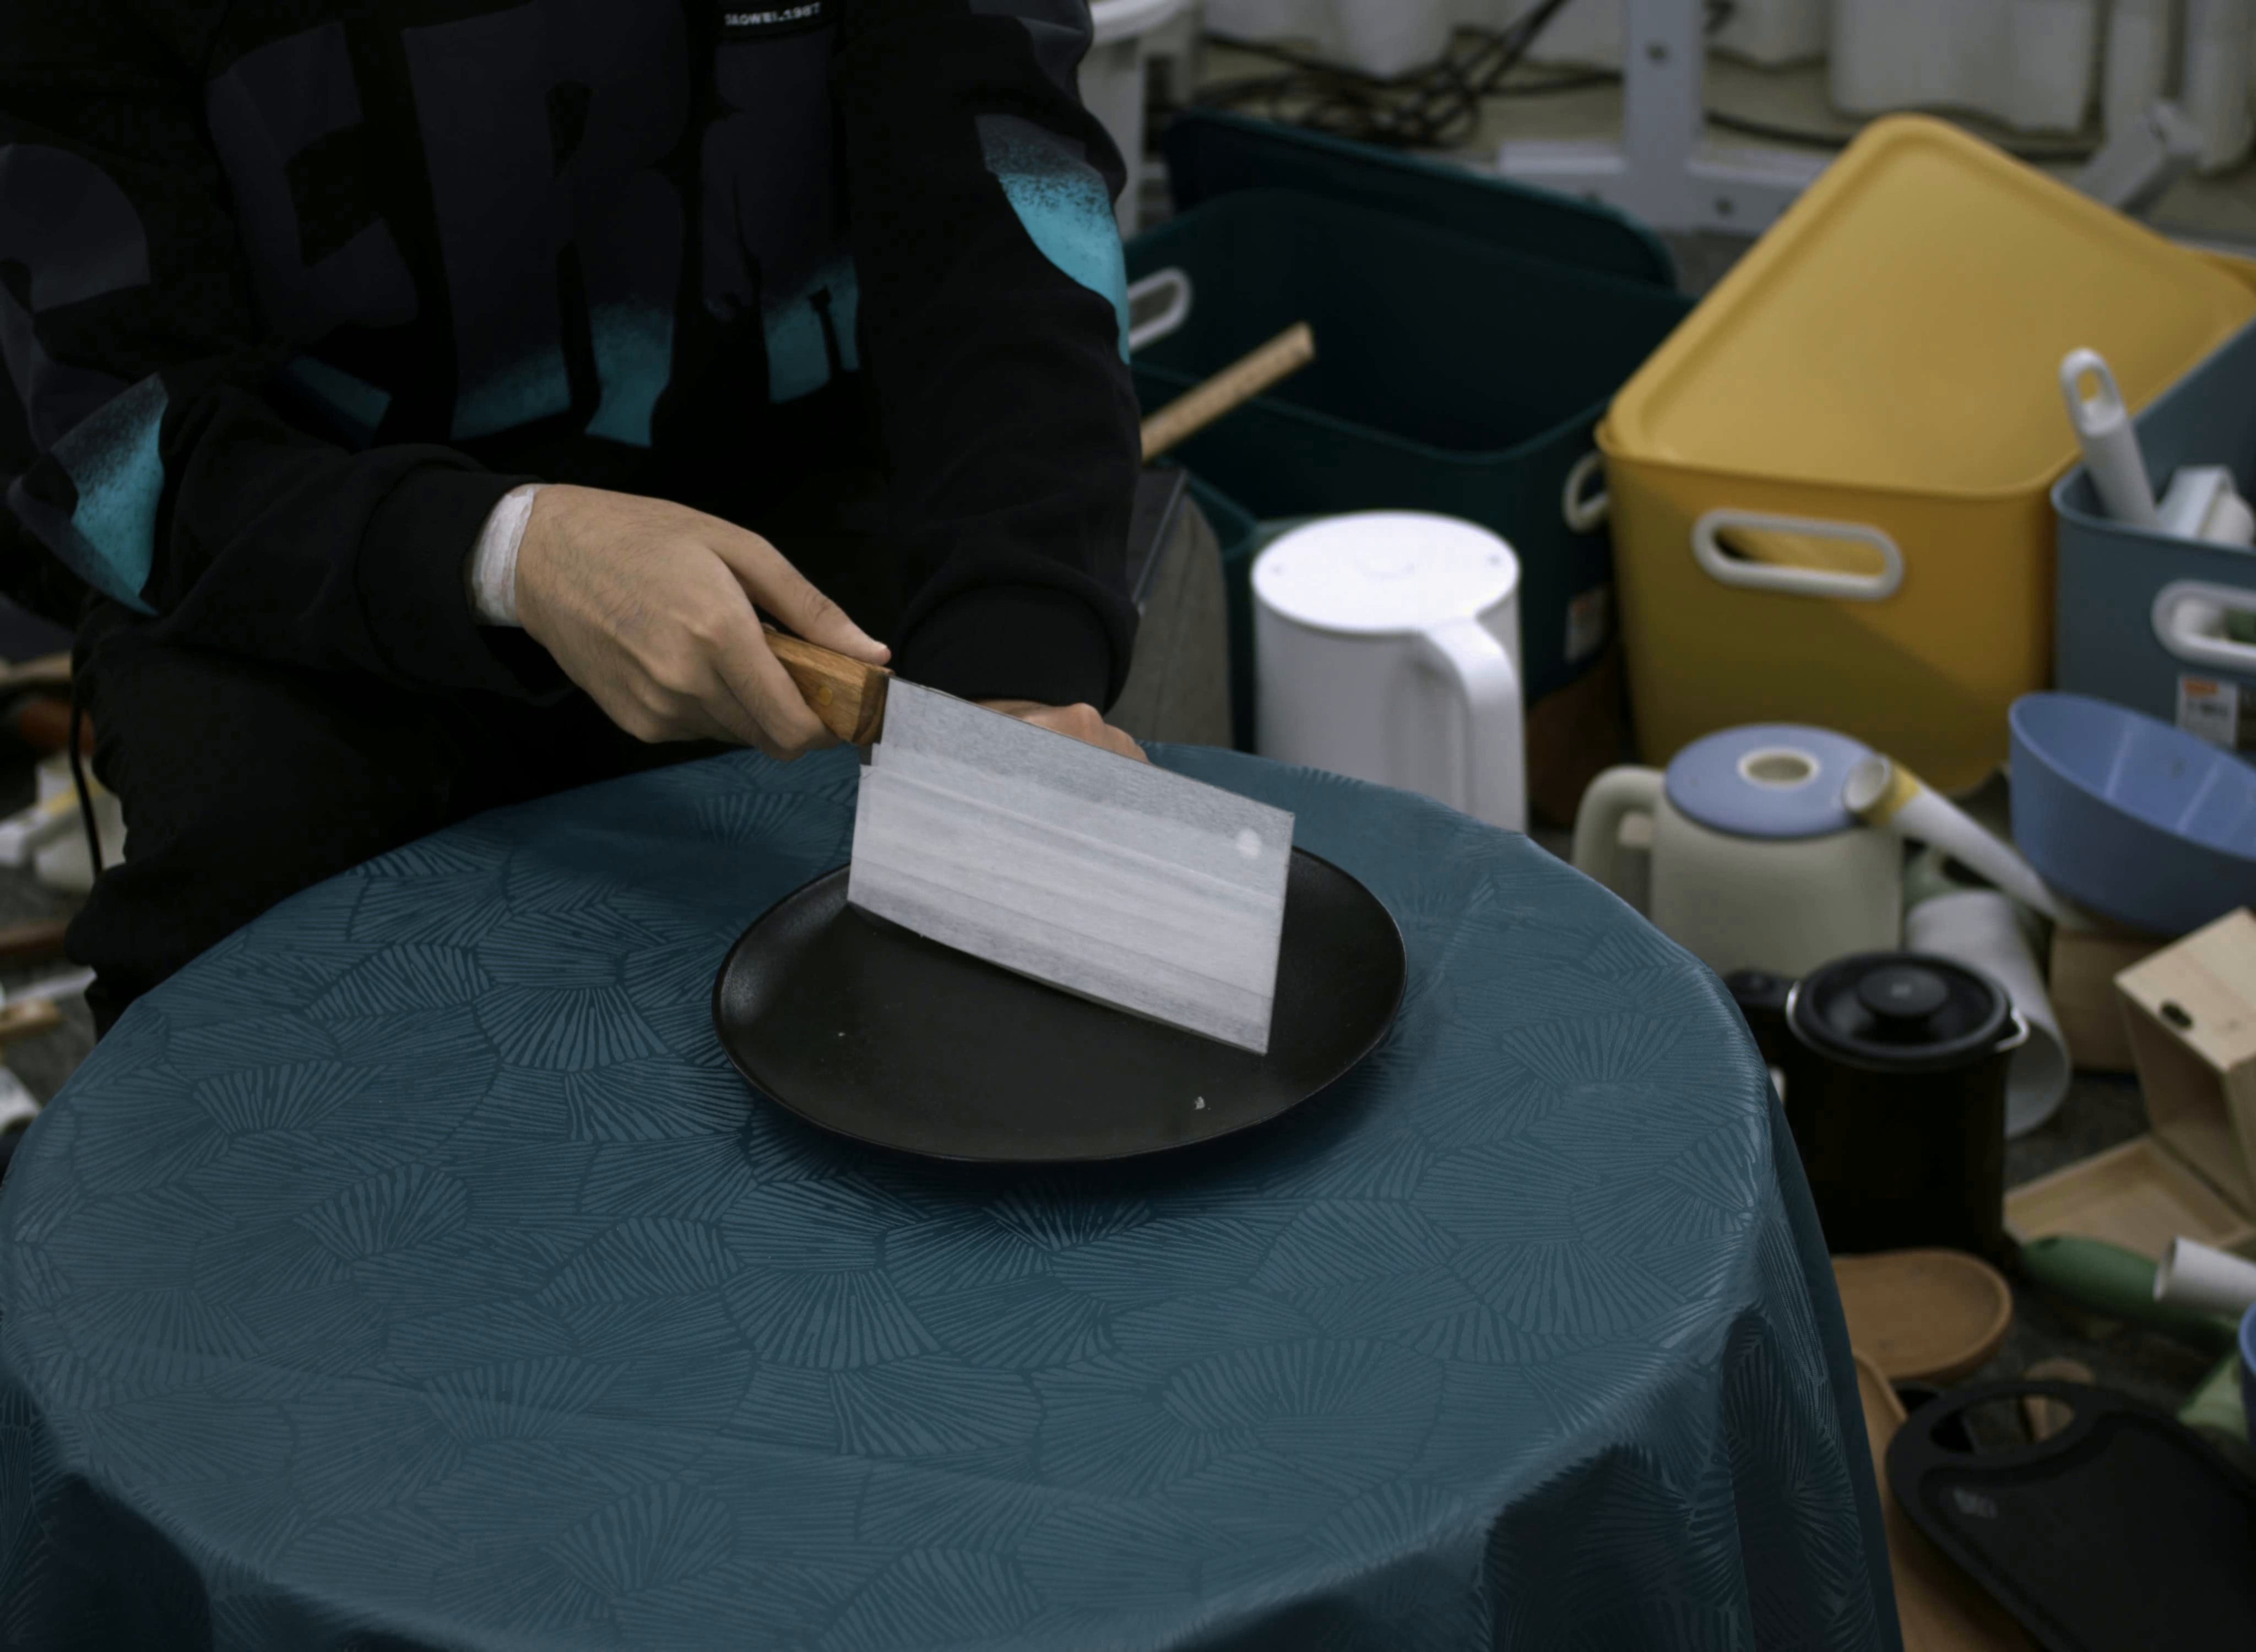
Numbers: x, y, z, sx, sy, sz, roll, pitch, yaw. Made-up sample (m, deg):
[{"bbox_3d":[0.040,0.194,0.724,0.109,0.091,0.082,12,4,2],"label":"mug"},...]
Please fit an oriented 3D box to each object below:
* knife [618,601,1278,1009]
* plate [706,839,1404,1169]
[{"bbox_3d":[-0.068,-0.006,1.983,0.305,0.092,0.021,19,22,35],"label":"knife"},{"bbox_3d":[-0.025,0.062,1.953,0.243,0.023,0.248,-2,28,2],"label":"plate"}]
